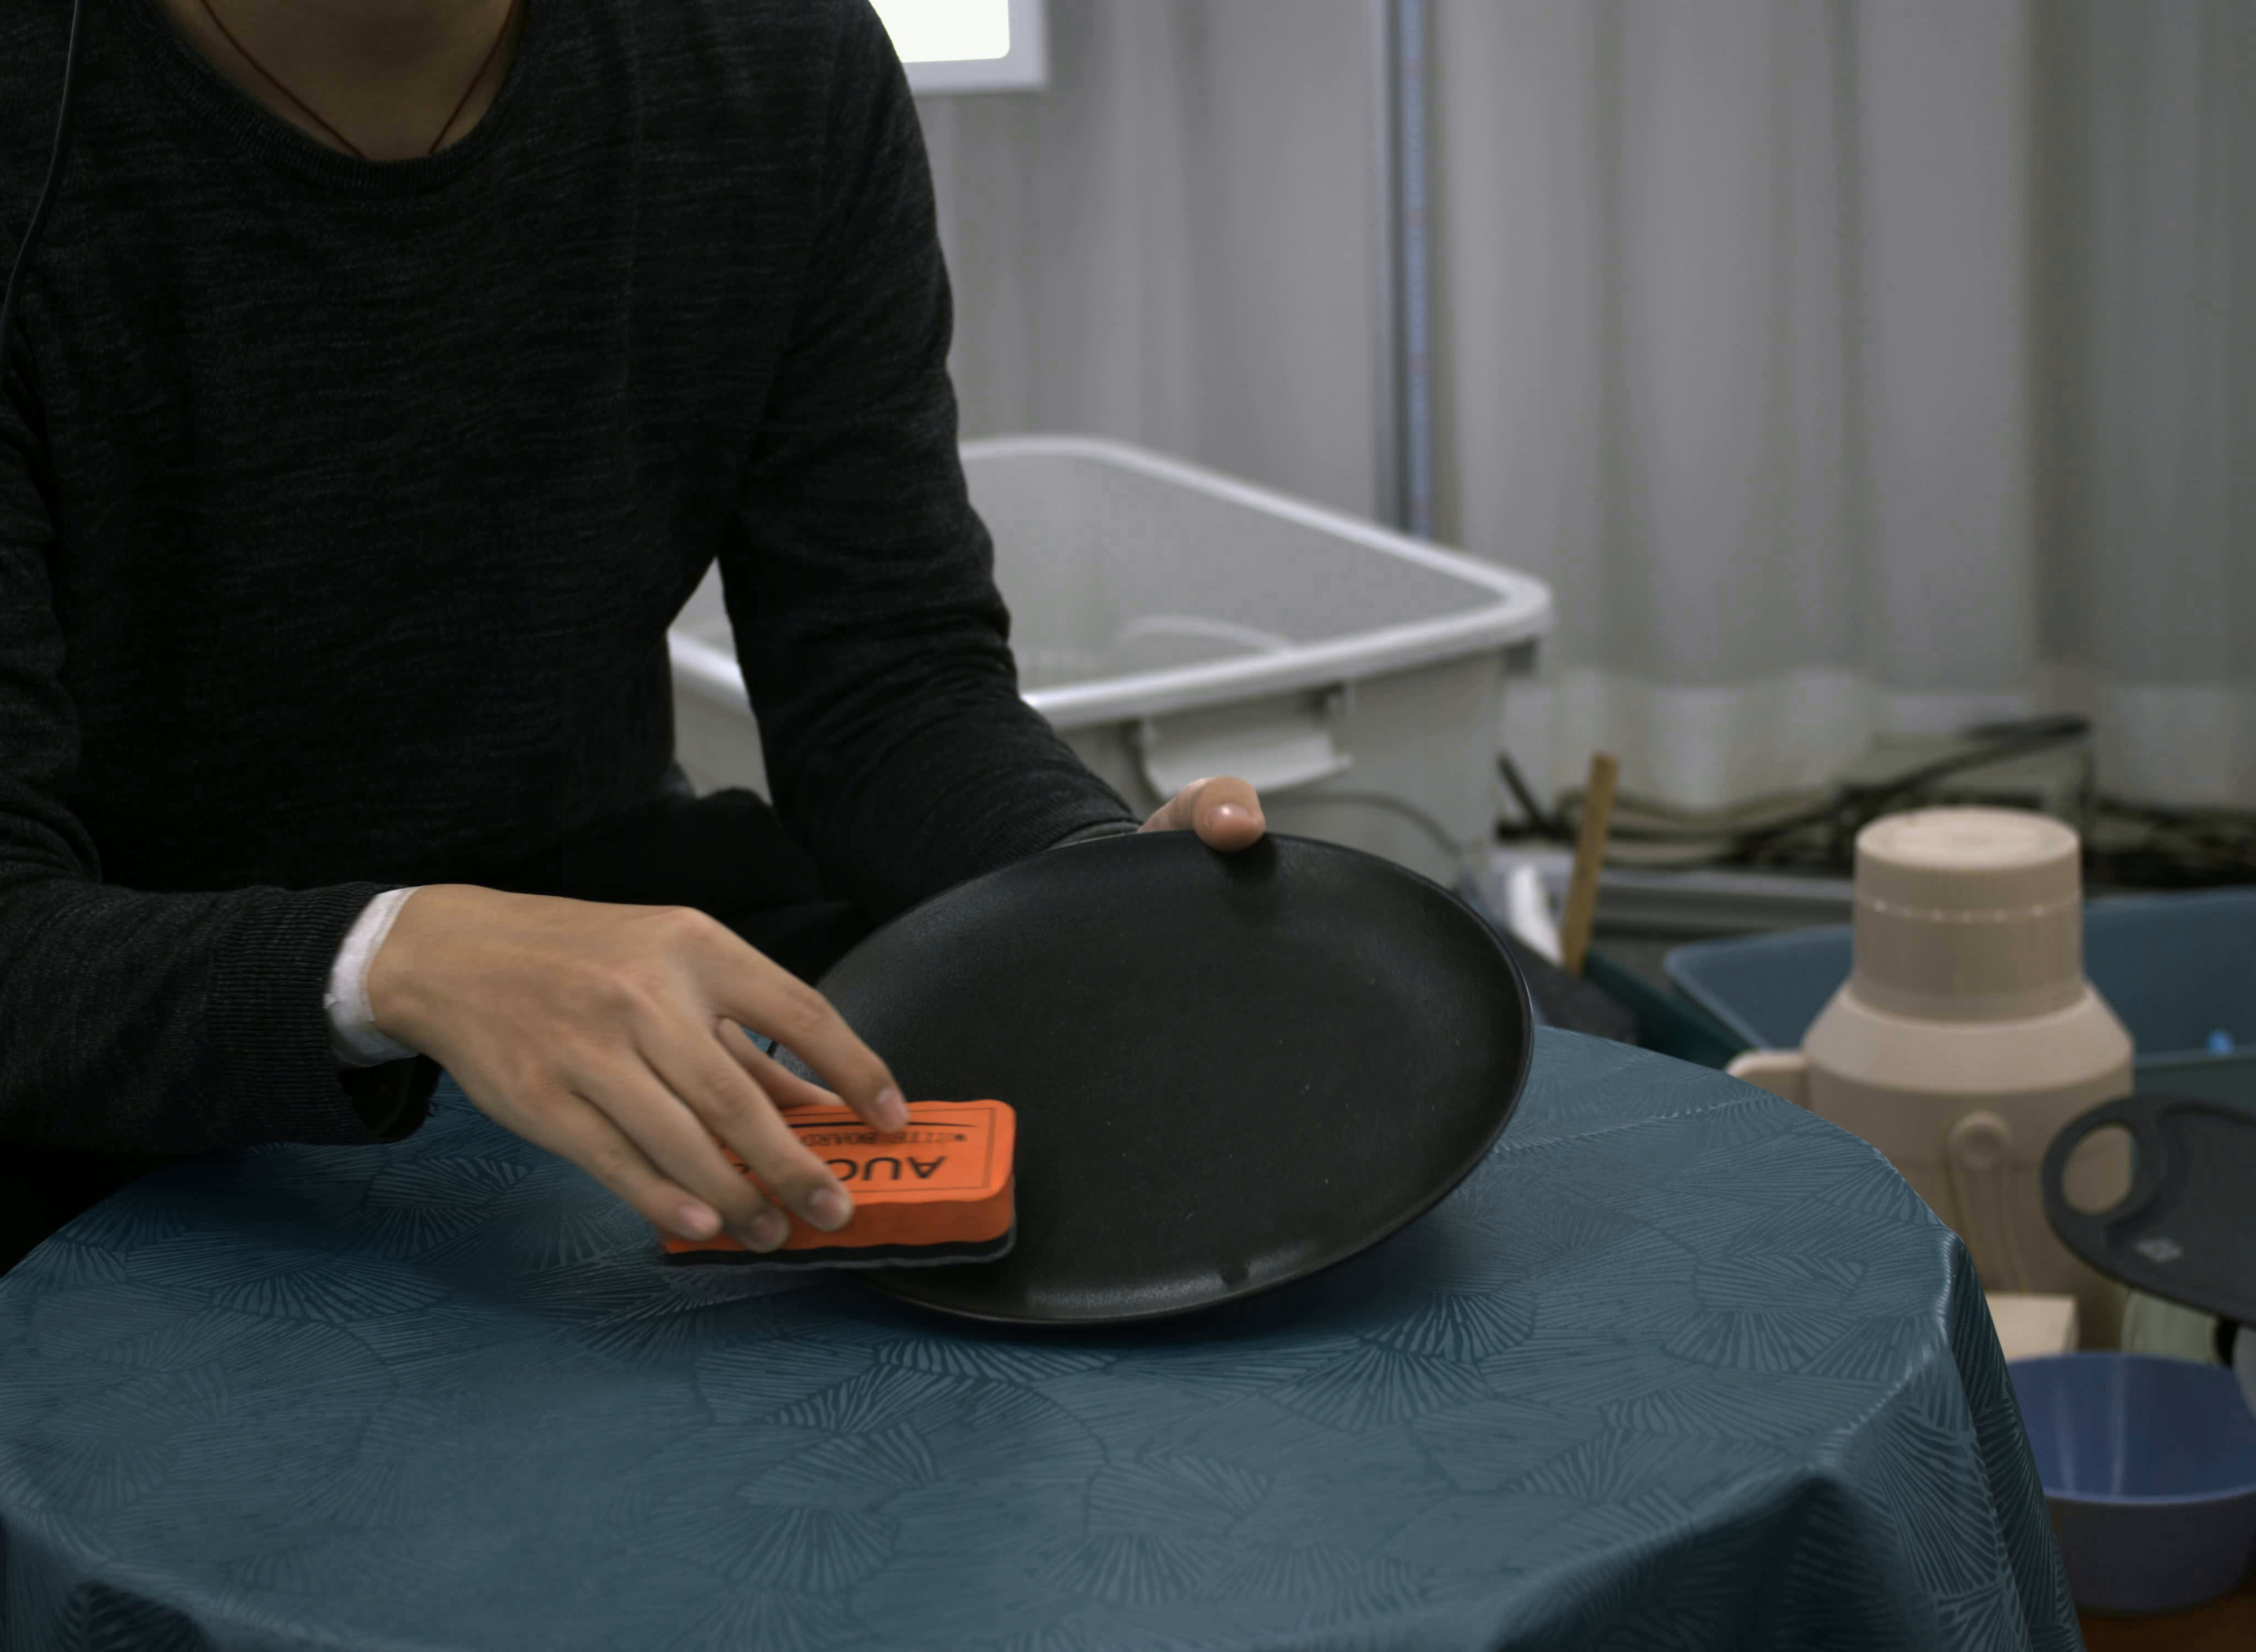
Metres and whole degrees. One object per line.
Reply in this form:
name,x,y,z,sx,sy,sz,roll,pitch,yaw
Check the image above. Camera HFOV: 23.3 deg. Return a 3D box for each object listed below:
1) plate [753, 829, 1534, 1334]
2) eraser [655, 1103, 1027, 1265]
plate,0.006,0.080,1.678,0.244,0.023,0.248,-8,34,5
eraser,-0.085,0.107,1.630,0.108,0.022,0.059,-2,25,4
